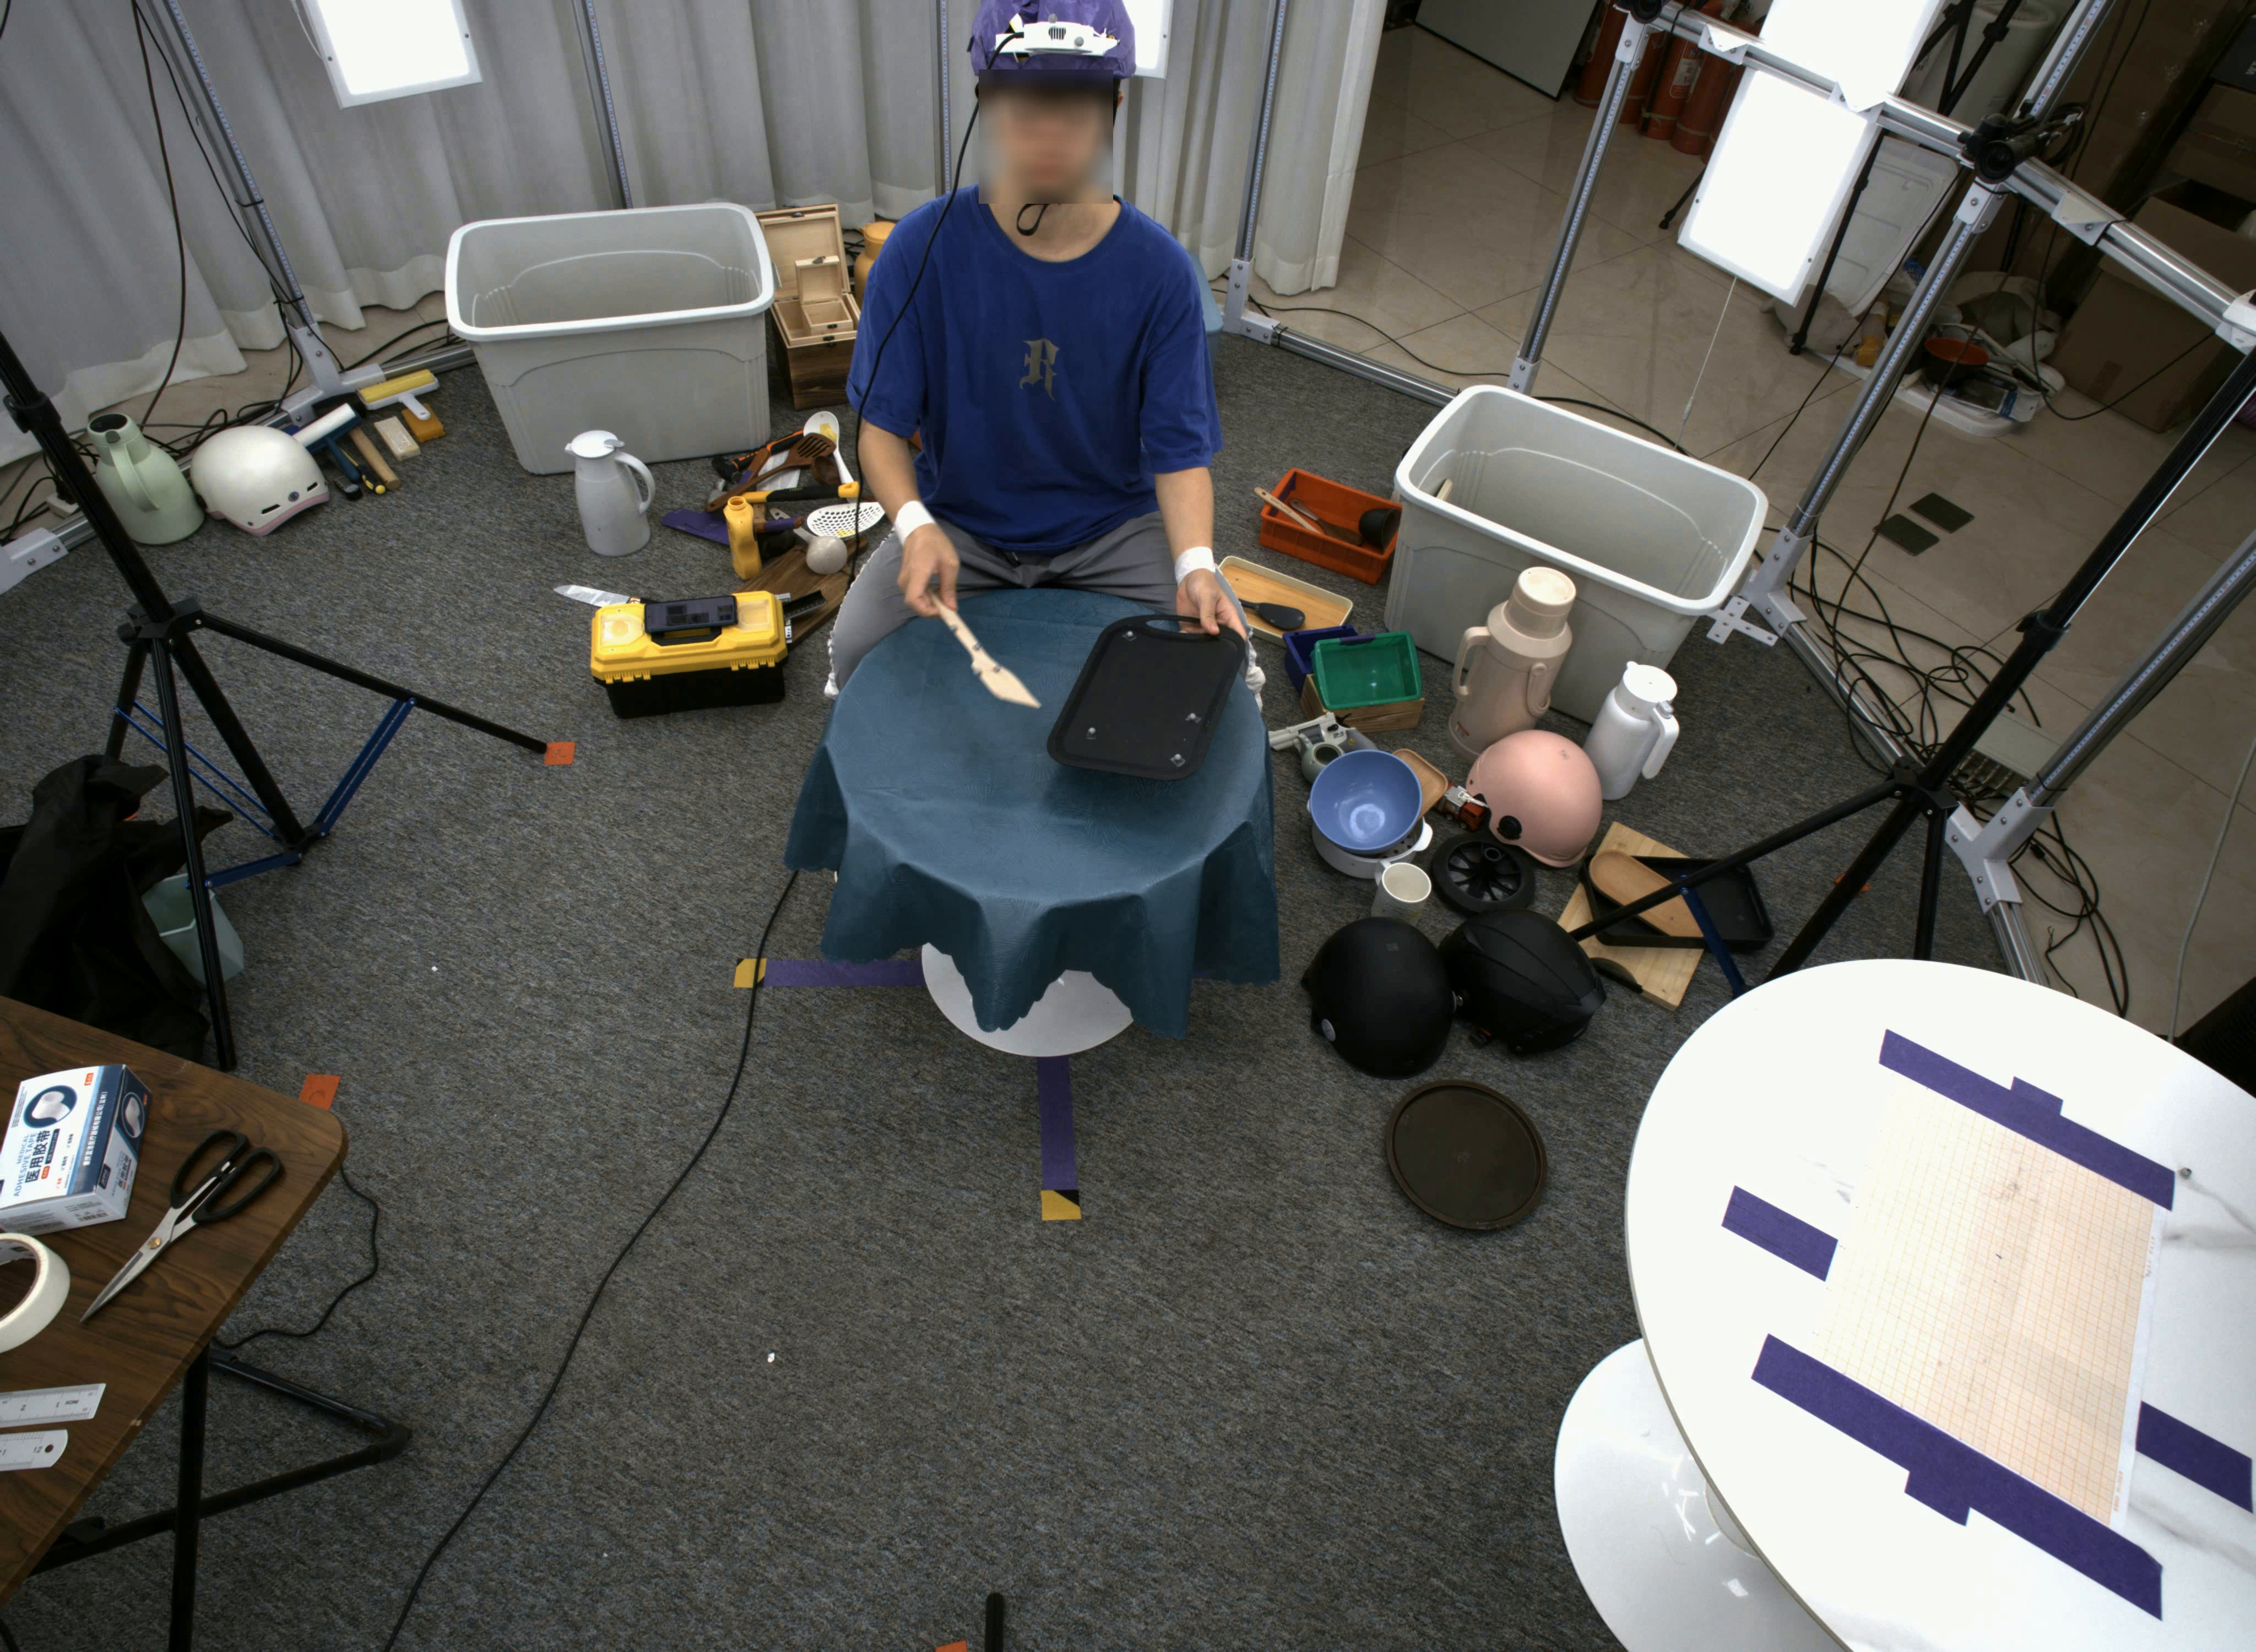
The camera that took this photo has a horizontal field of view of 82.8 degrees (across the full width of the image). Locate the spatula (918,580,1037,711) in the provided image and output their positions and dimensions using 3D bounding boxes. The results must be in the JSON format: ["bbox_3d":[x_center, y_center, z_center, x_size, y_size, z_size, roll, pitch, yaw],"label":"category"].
[{"bbox_3d":[-0.216,-0.249,1.740,0.071,0.010,0.299,8,35,-45],"label":"spatula"}]

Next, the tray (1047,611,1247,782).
[{"bbox_3d":[0.031,-0.186,1.724,0.212,0.009,0.332,10,49,17],"label":"tray"}]
